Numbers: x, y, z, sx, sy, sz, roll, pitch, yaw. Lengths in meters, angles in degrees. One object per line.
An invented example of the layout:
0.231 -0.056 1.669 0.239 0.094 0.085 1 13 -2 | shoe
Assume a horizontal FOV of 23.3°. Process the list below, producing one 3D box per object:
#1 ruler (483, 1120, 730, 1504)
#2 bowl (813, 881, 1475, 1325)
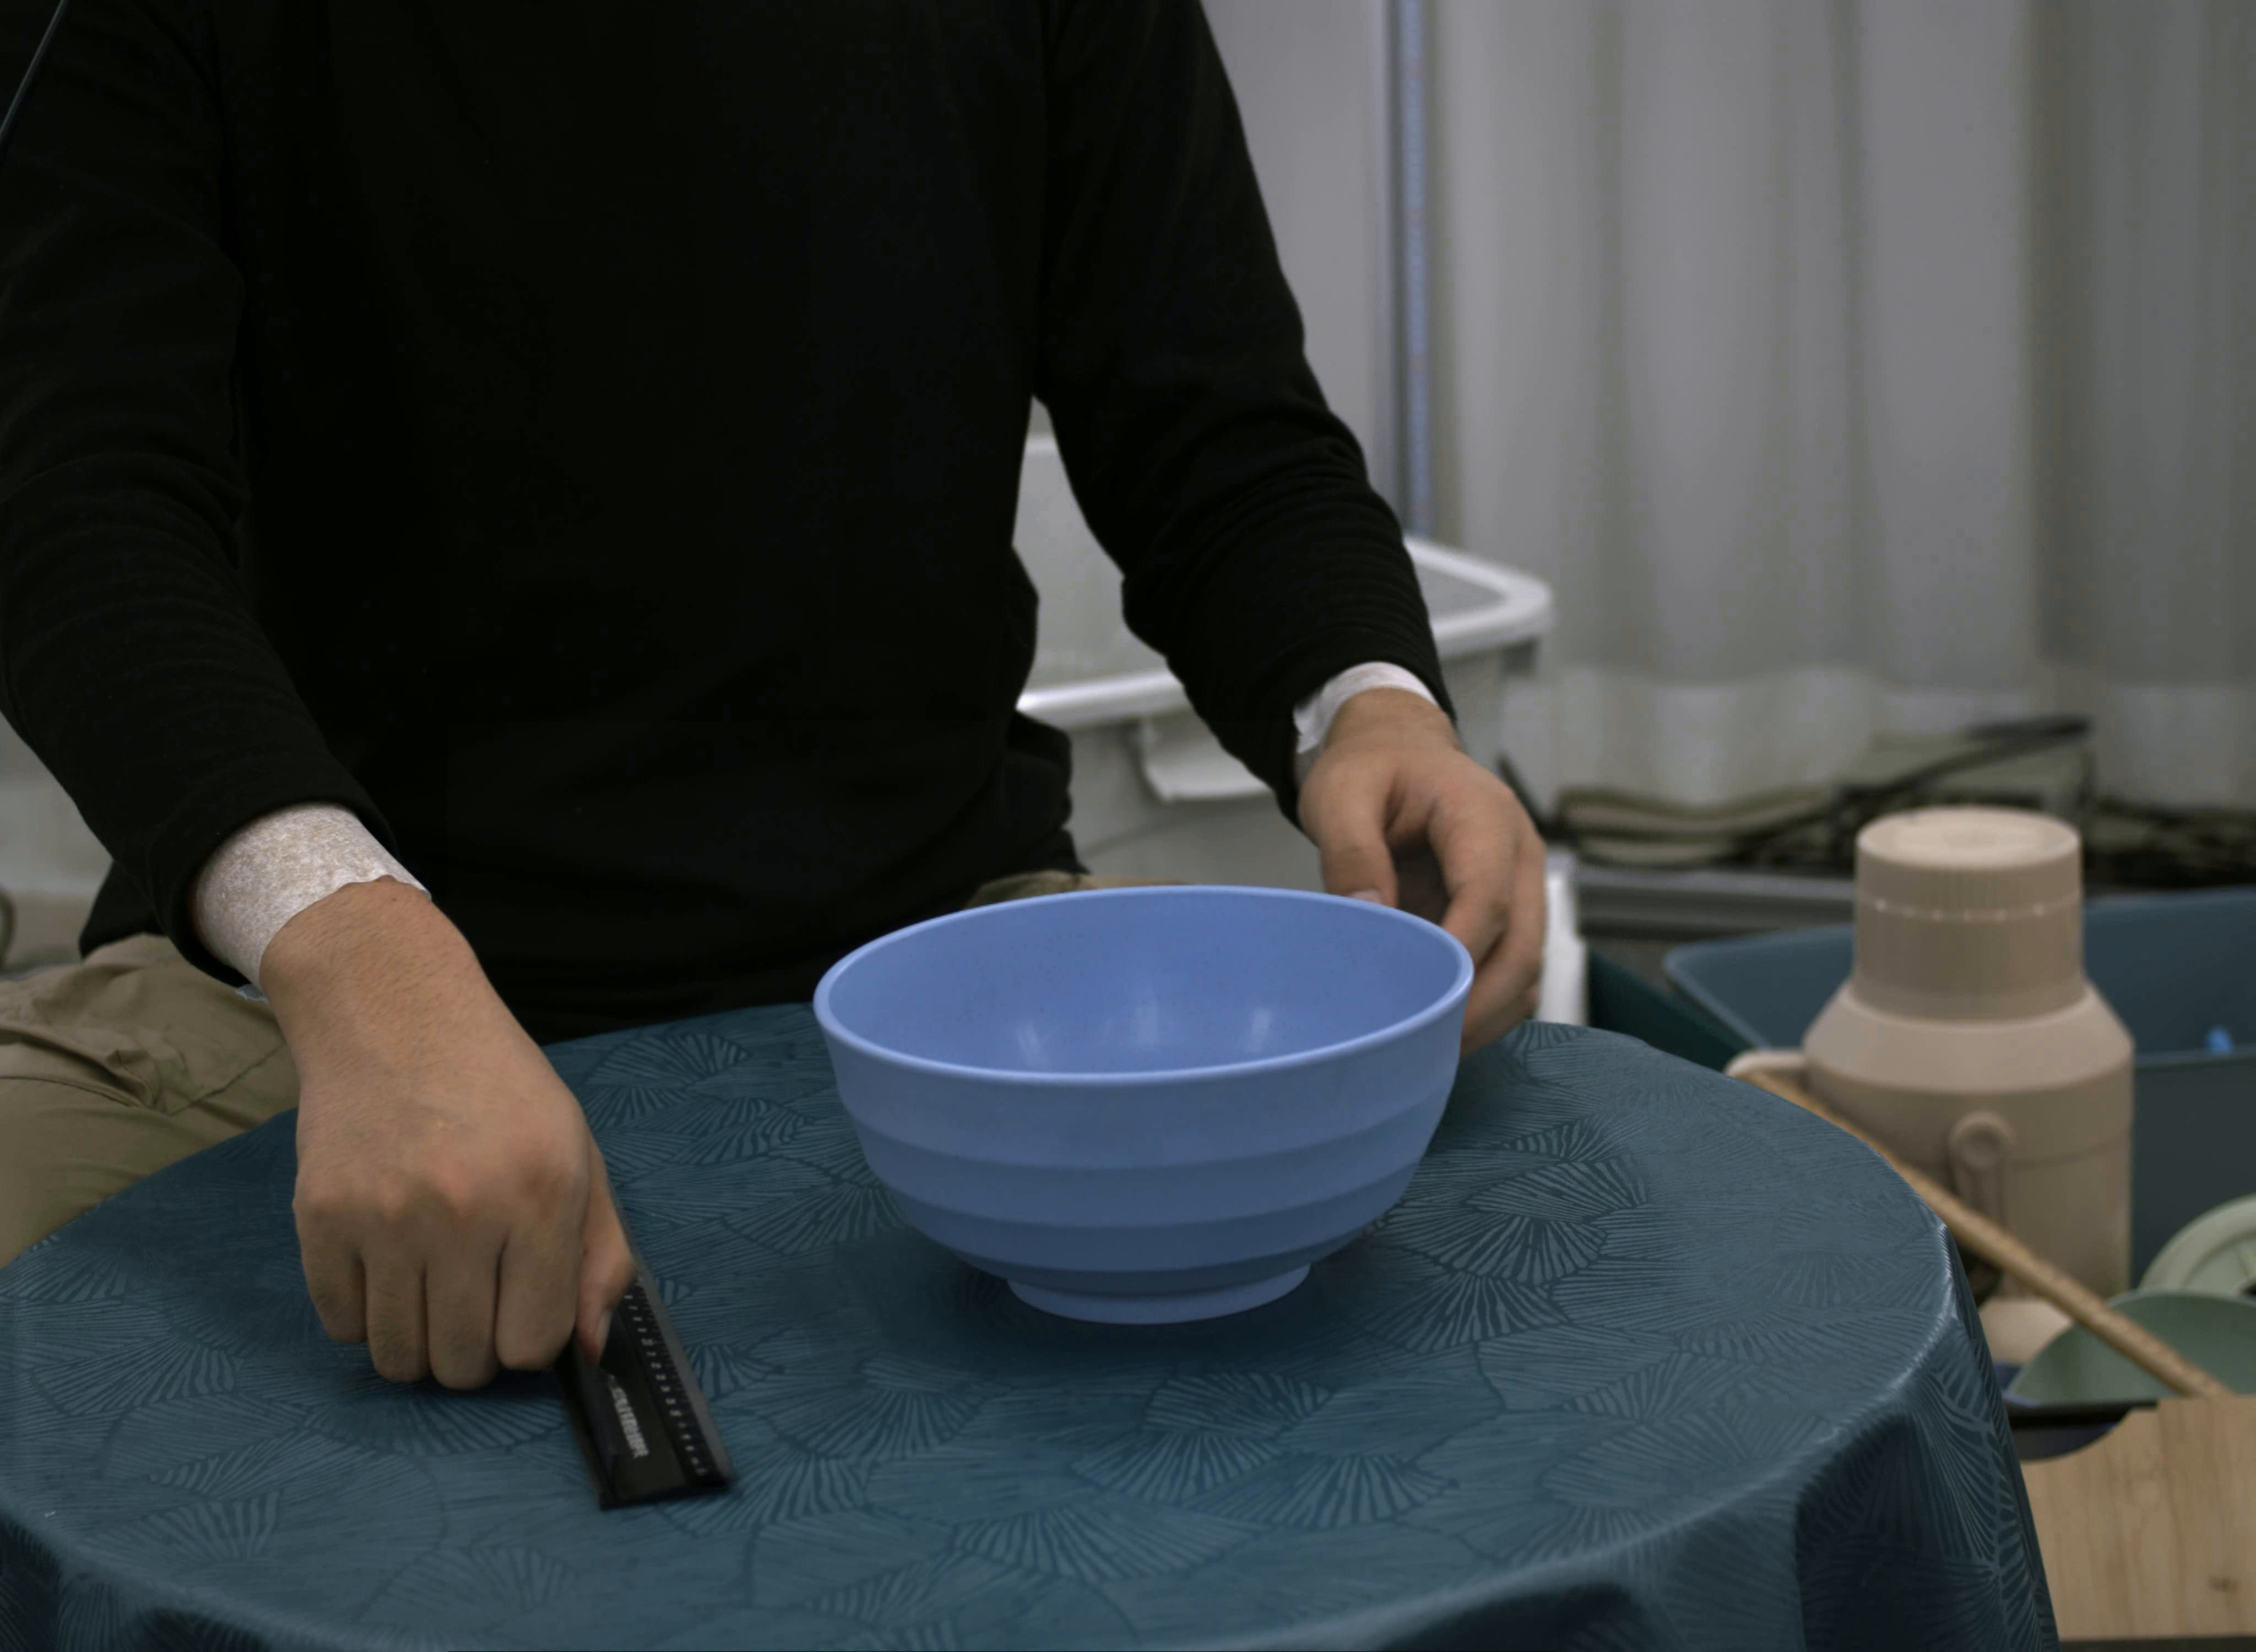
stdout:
-0.158 0.137 1.625 0.039 0.017 0.315 -6 15 -11 | ruler
0.006 0.088 1.627 0.196 0.095 0.198 -2 15 0 | bowl
